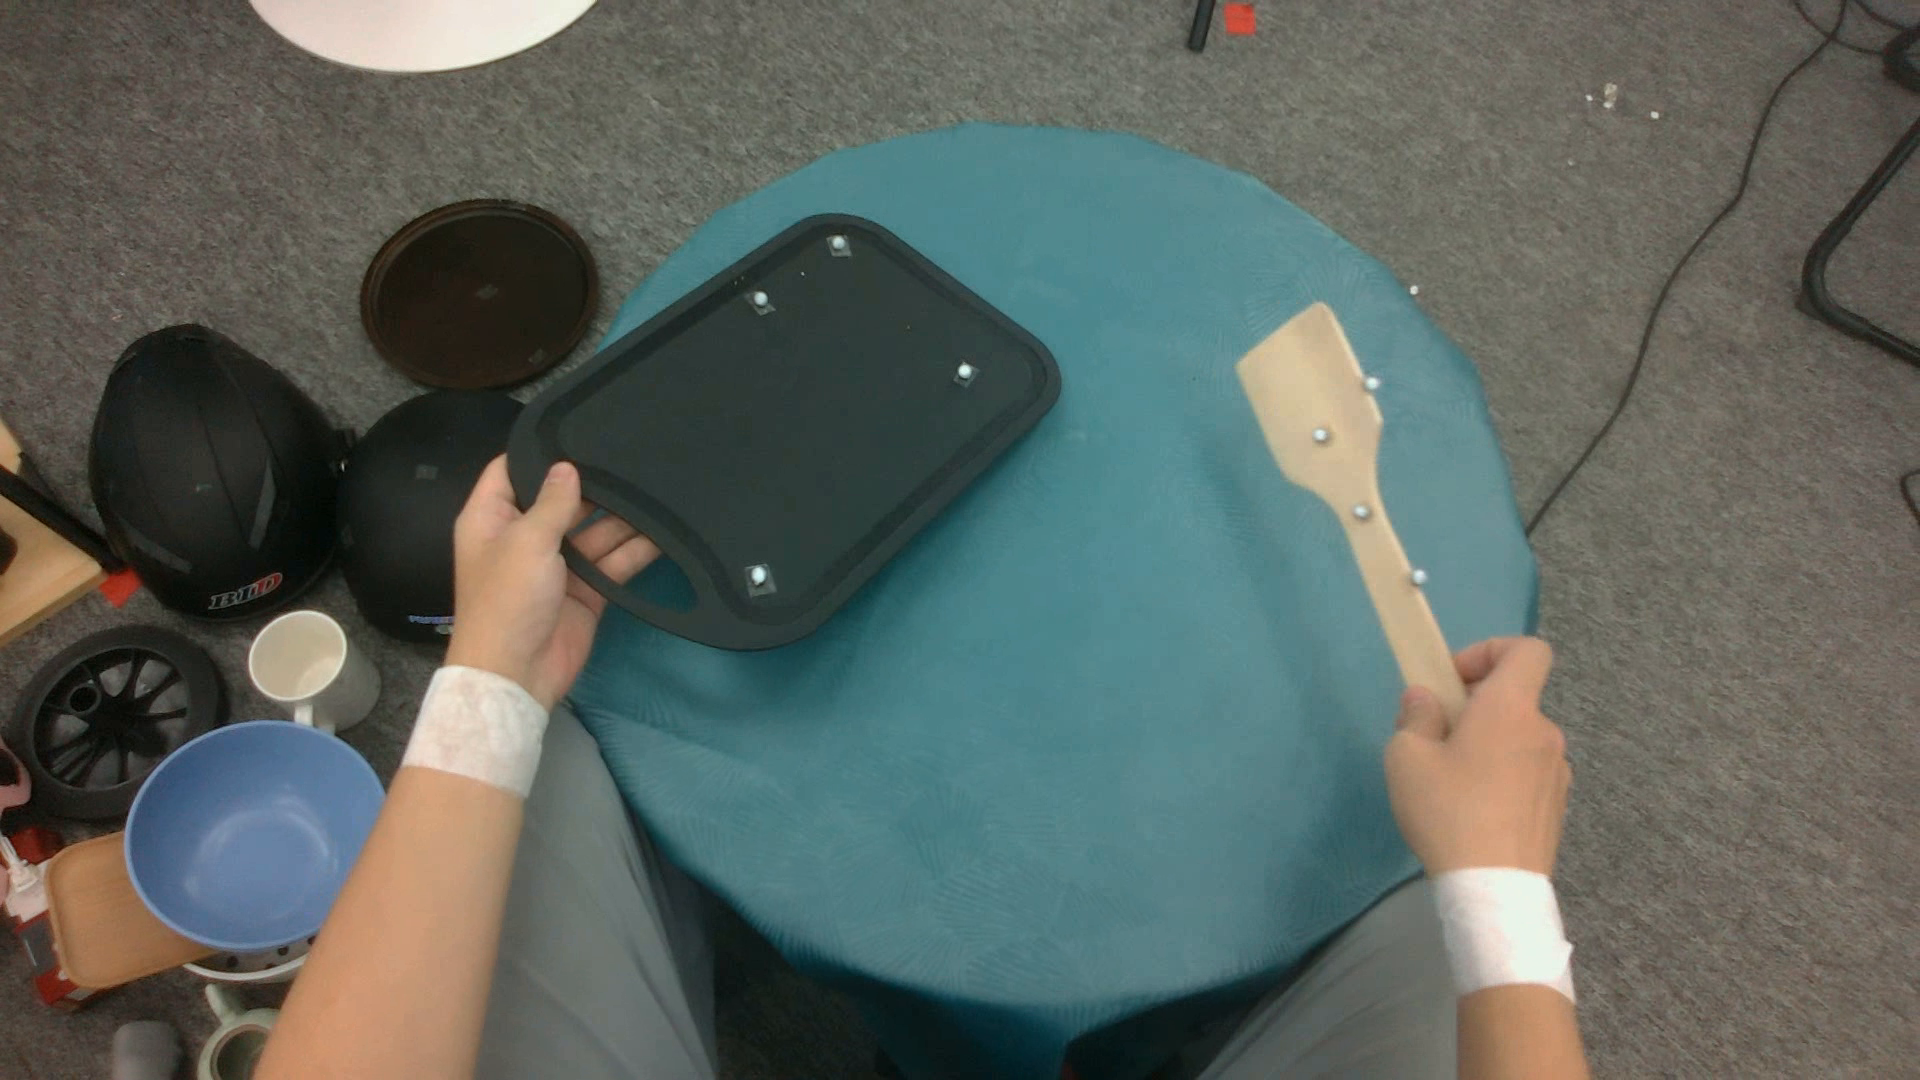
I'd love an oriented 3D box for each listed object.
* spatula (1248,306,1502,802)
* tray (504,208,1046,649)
[{"bbox_3d":[0.233,0.004,0.763,0.011,0.072,0.294,6,57,-37],"label":"spatula"},{"bbox_3d":[-0.102,-0.077,0.812,0.211,0.010,0.327,36,56,11],"label":"tray"}]
